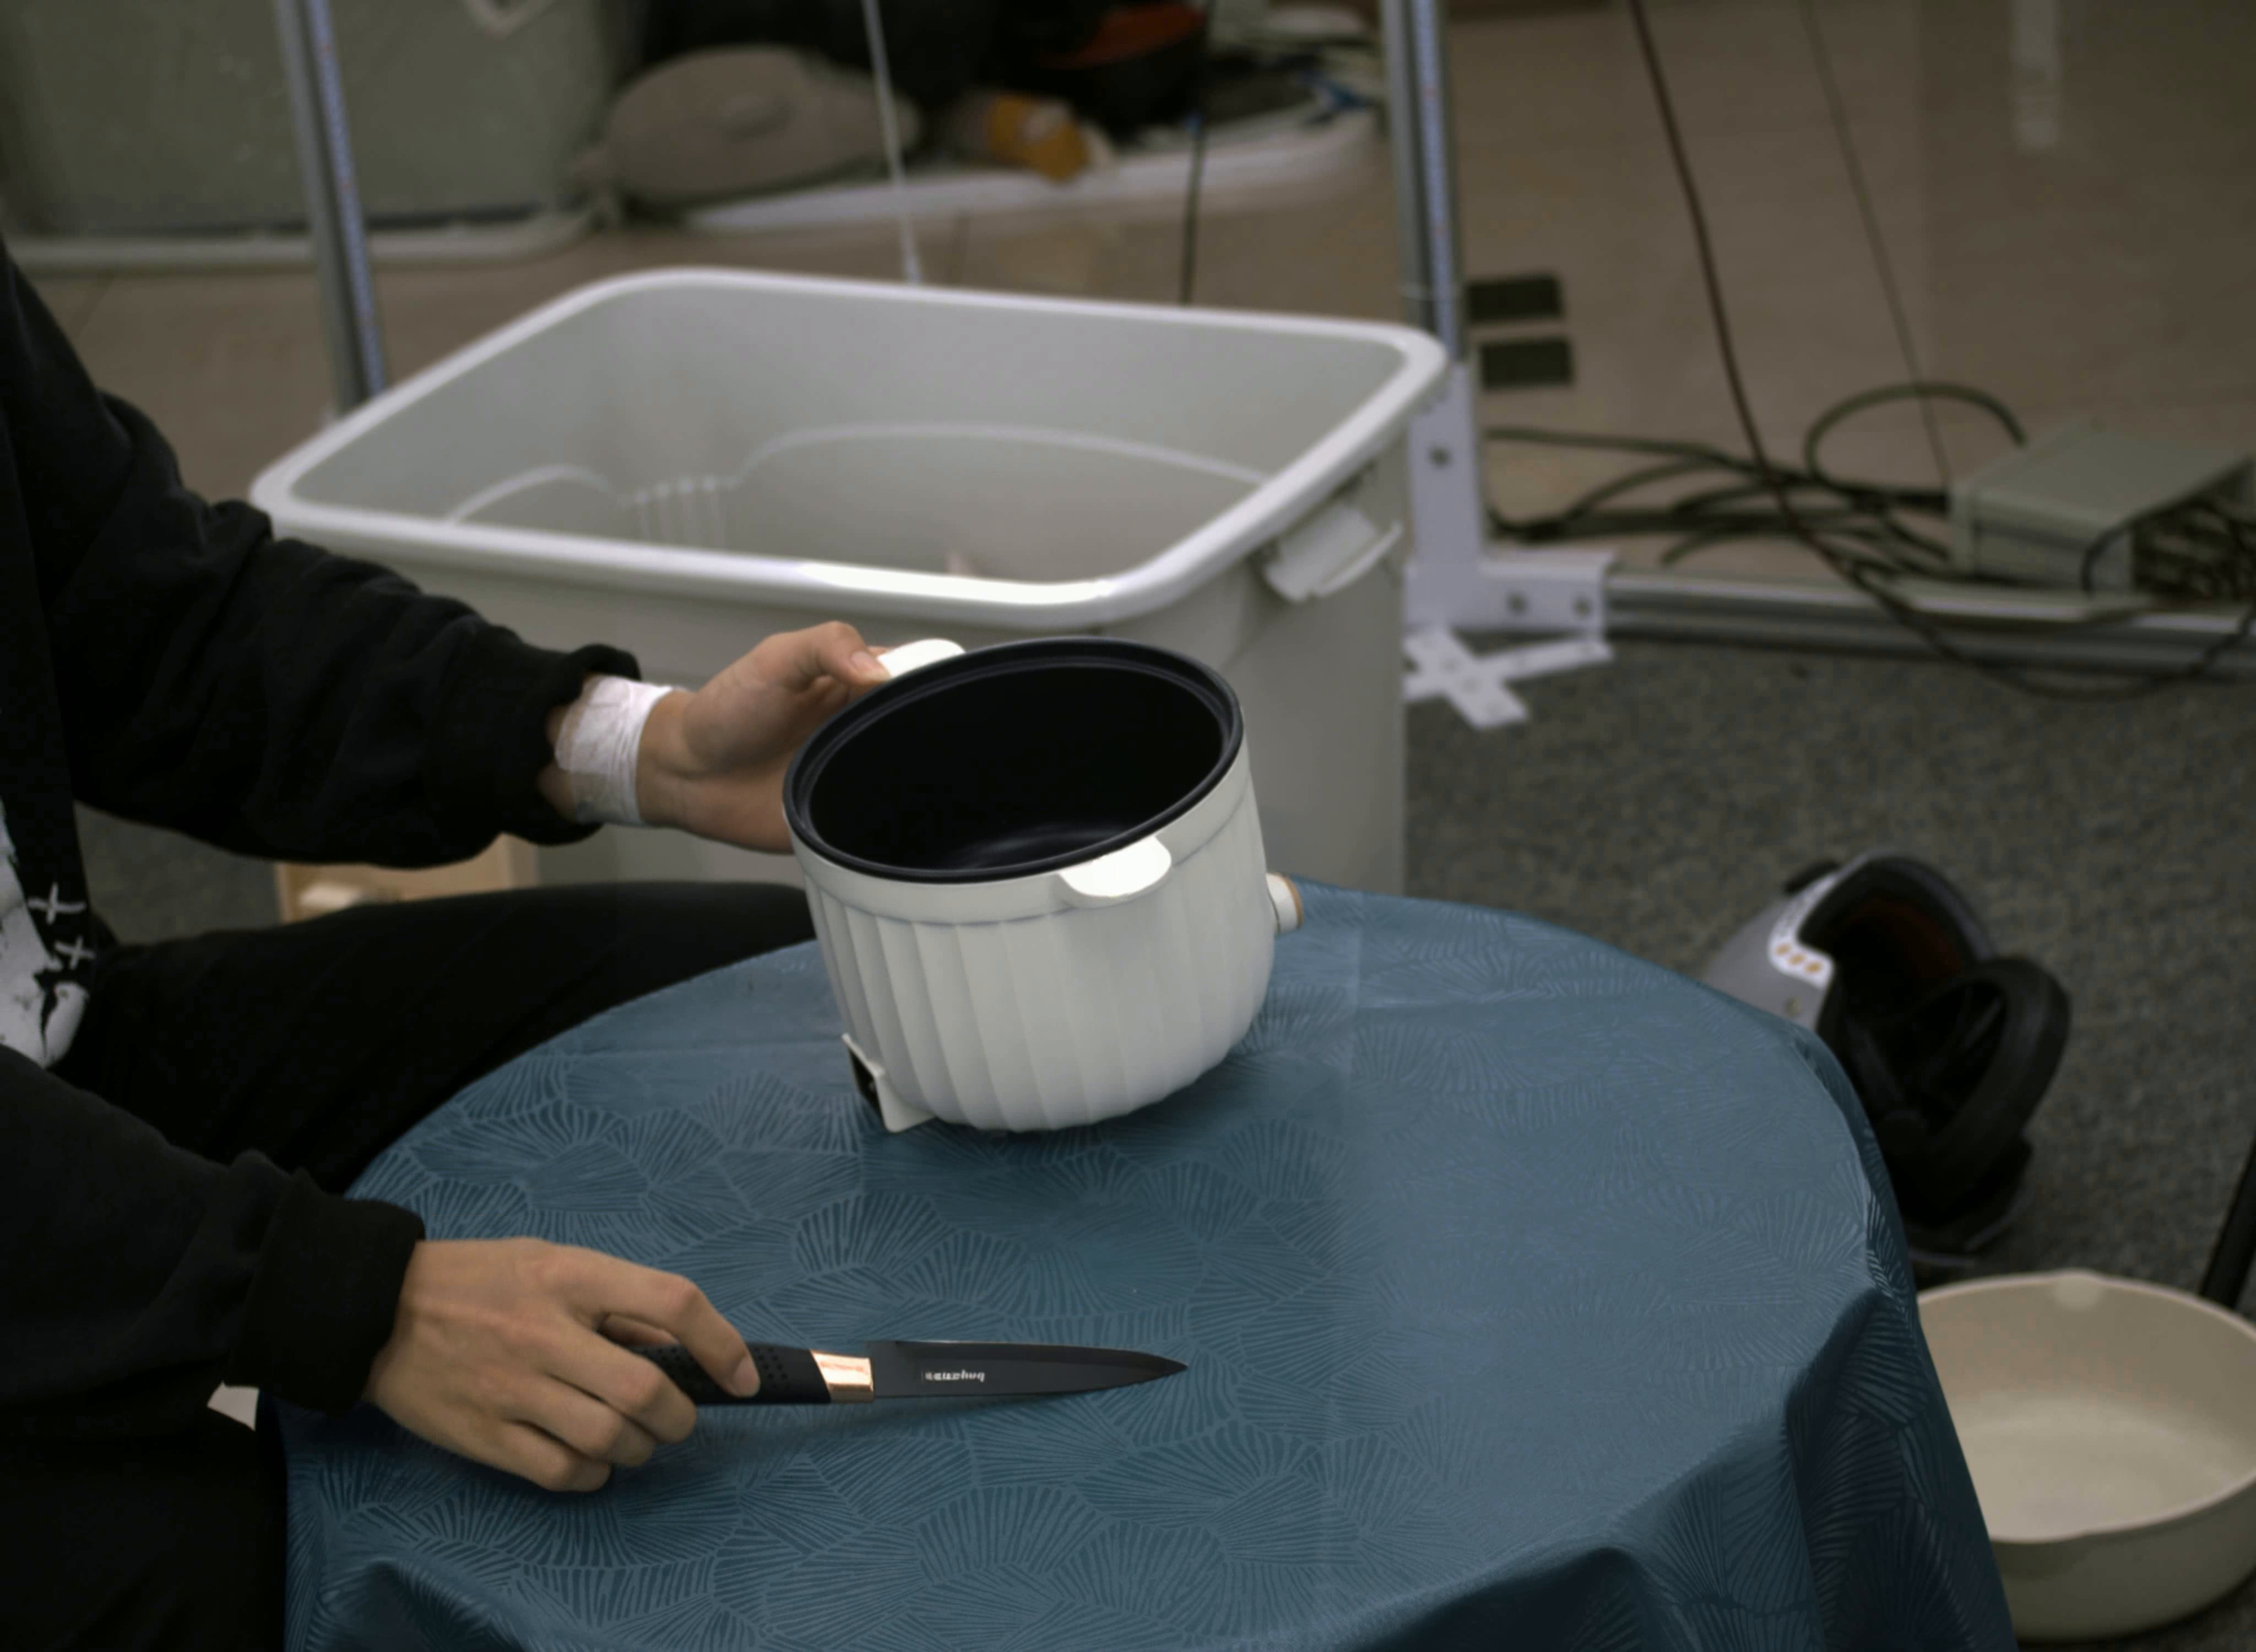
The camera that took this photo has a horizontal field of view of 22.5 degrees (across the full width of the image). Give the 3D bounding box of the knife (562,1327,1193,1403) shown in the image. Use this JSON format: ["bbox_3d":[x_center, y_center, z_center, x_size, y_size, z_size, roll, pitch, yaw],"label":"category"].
[{"bbox_3d":[-0.088,0.190,2.015,0.225,0.017,0.026,-1,53,-6],"label":"knife"}]

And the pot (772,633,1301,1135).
[{"bbox_3d":[-0.030,0.025,2.217,0.189,0.145,0.237,-24,34,-15],"label":"pot"}]
